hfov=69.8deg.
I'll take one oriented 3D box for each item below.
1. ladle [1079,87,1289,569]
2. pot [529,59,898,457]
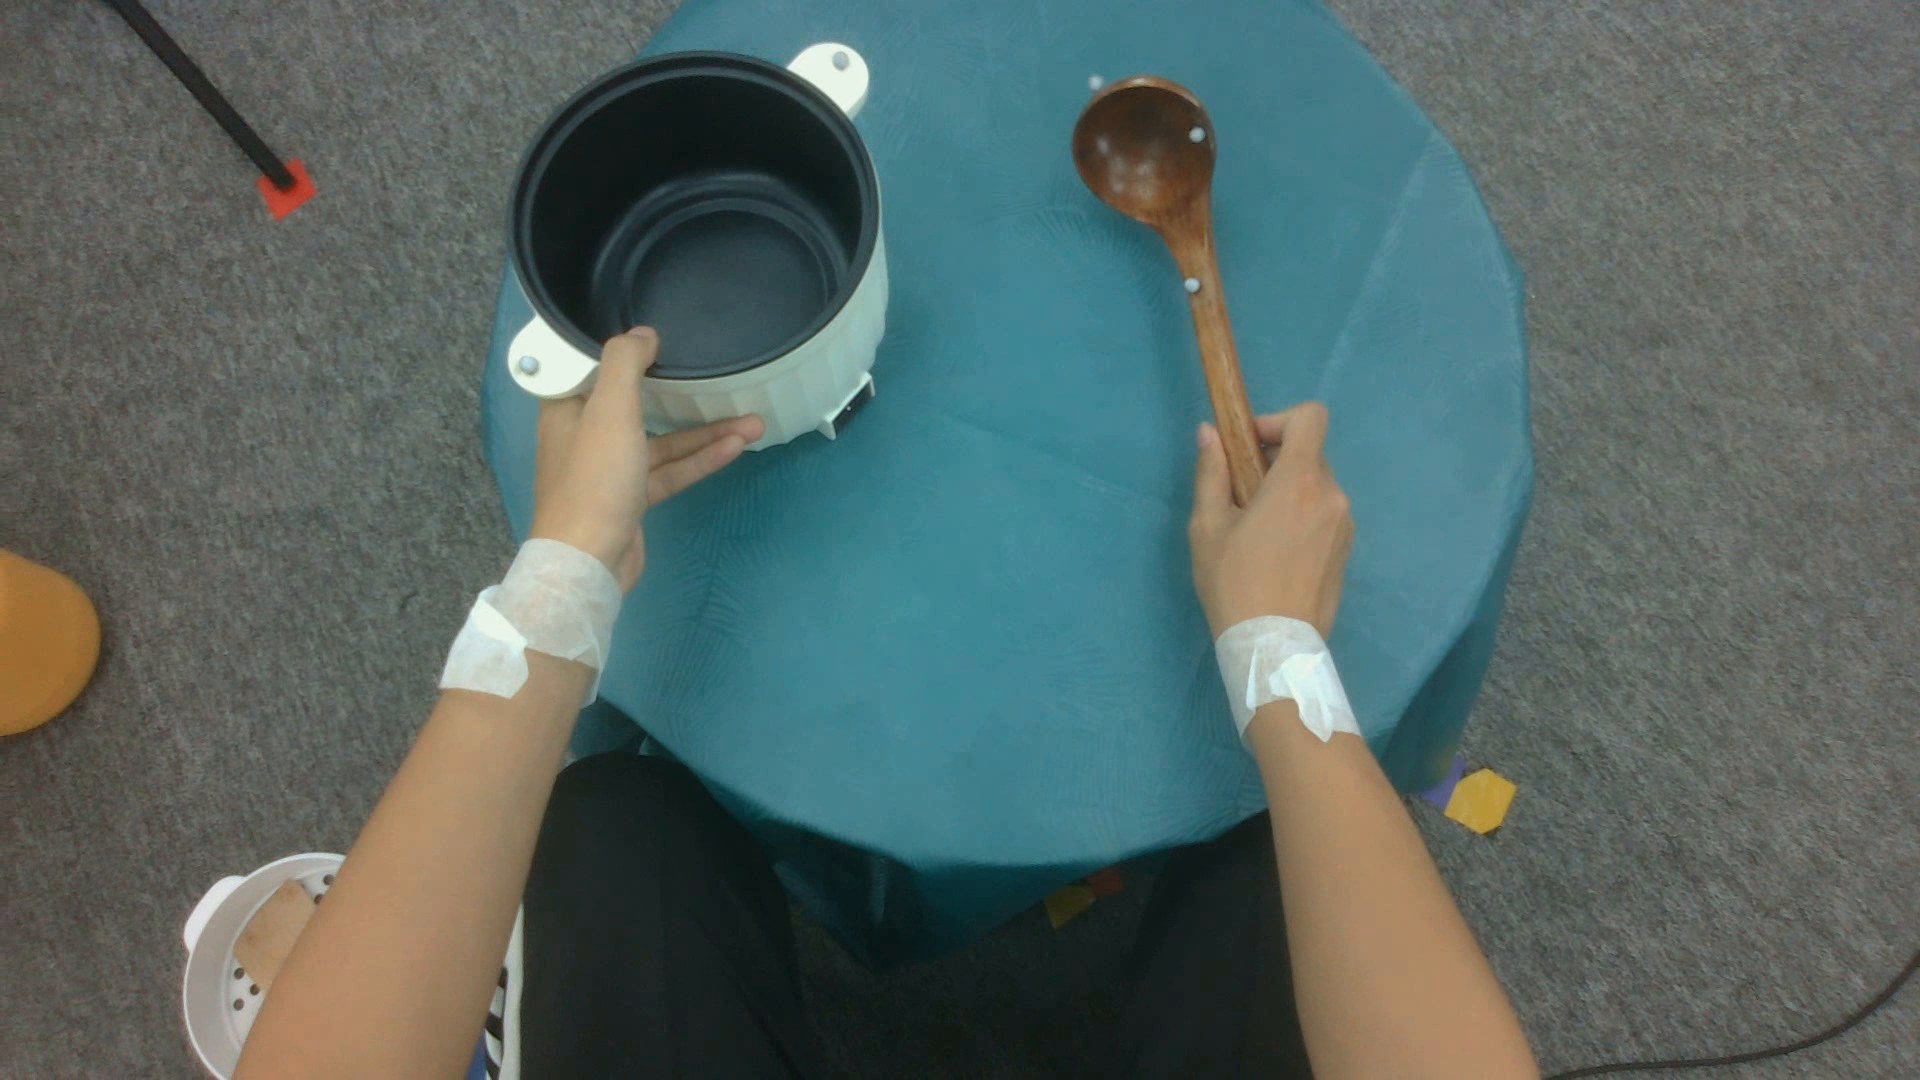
[{"bbox_3d":[0.126,-0.120,0.753,0.077,0.081,0.274,7,67,-41],"label":"ladle"},{"bbox_3d":[-0.128,-0.142,0.751,0.190,0.142,0.241,38,75,9],"label":"pot"}]
